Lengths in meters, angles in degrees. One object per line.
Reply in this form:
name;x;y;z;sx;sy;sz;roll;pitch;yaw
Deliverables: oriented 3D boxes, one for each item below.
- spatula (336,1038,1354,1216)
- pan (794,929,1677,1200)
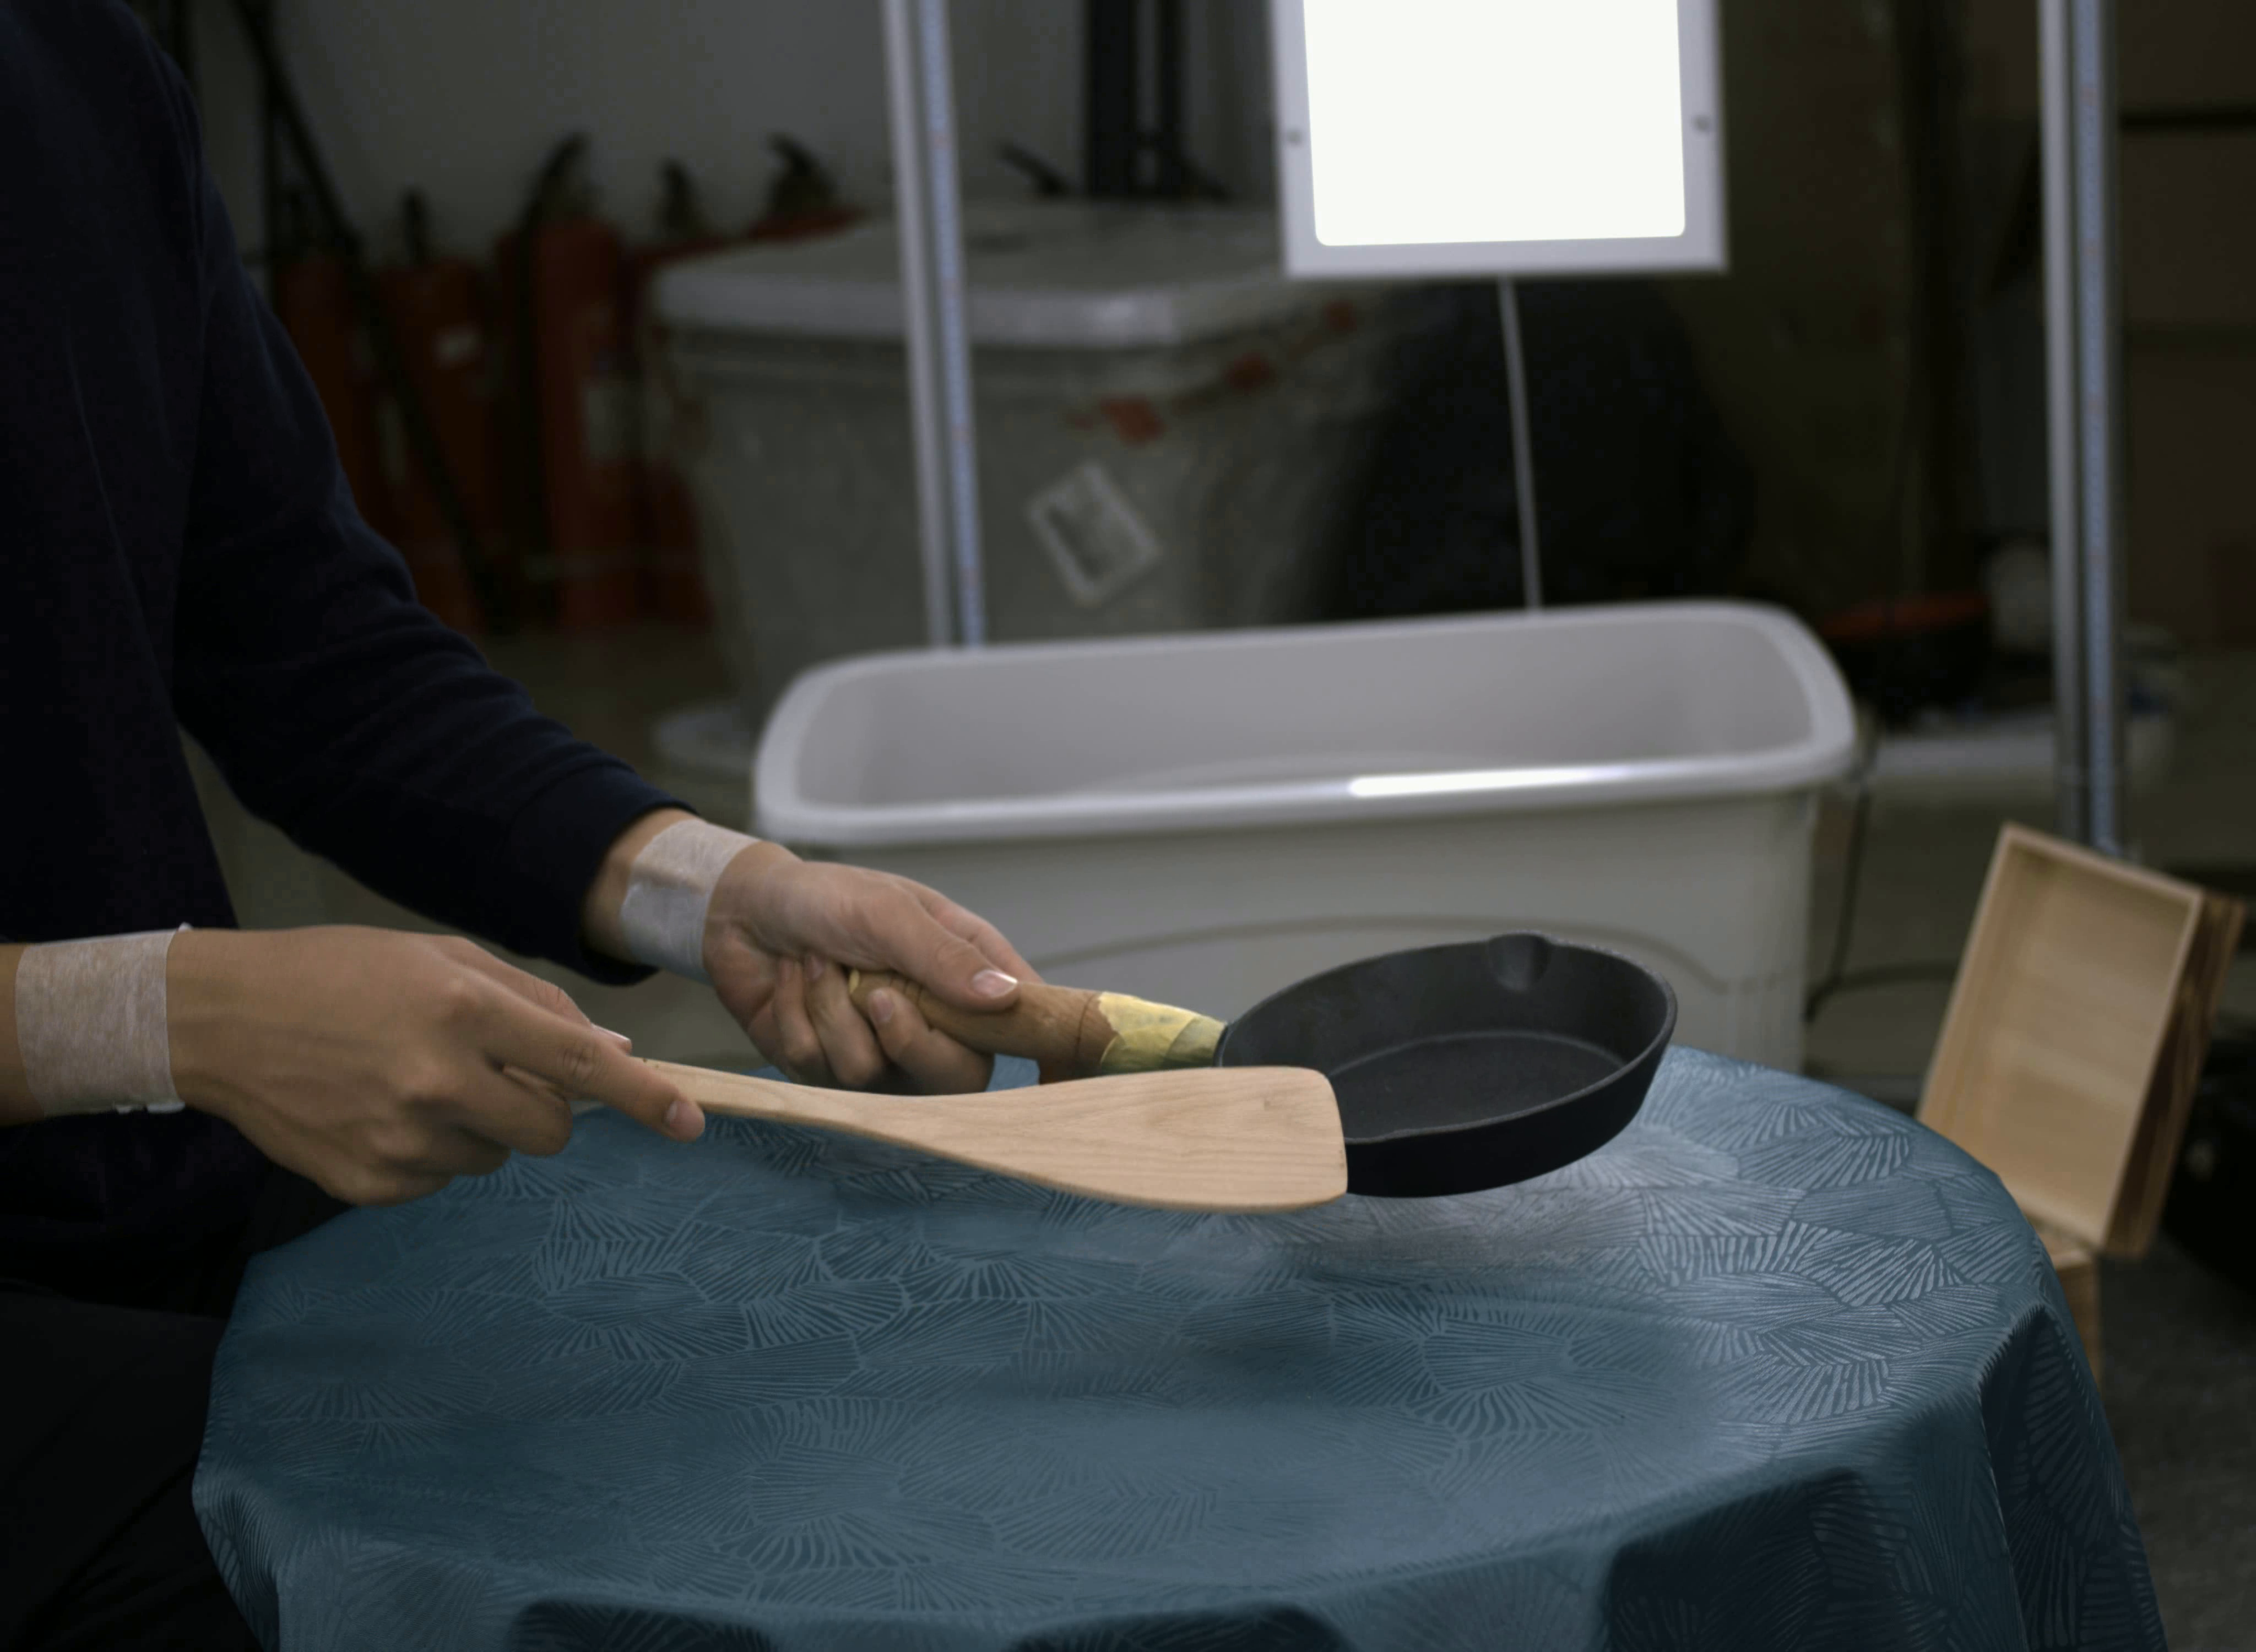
spatula;-0.089;0.086;1.733;0.329;0.016;0.079;5;34;8
pan;0.031;0.074;1.874;0.330;0.050;0.165;2;24;29
